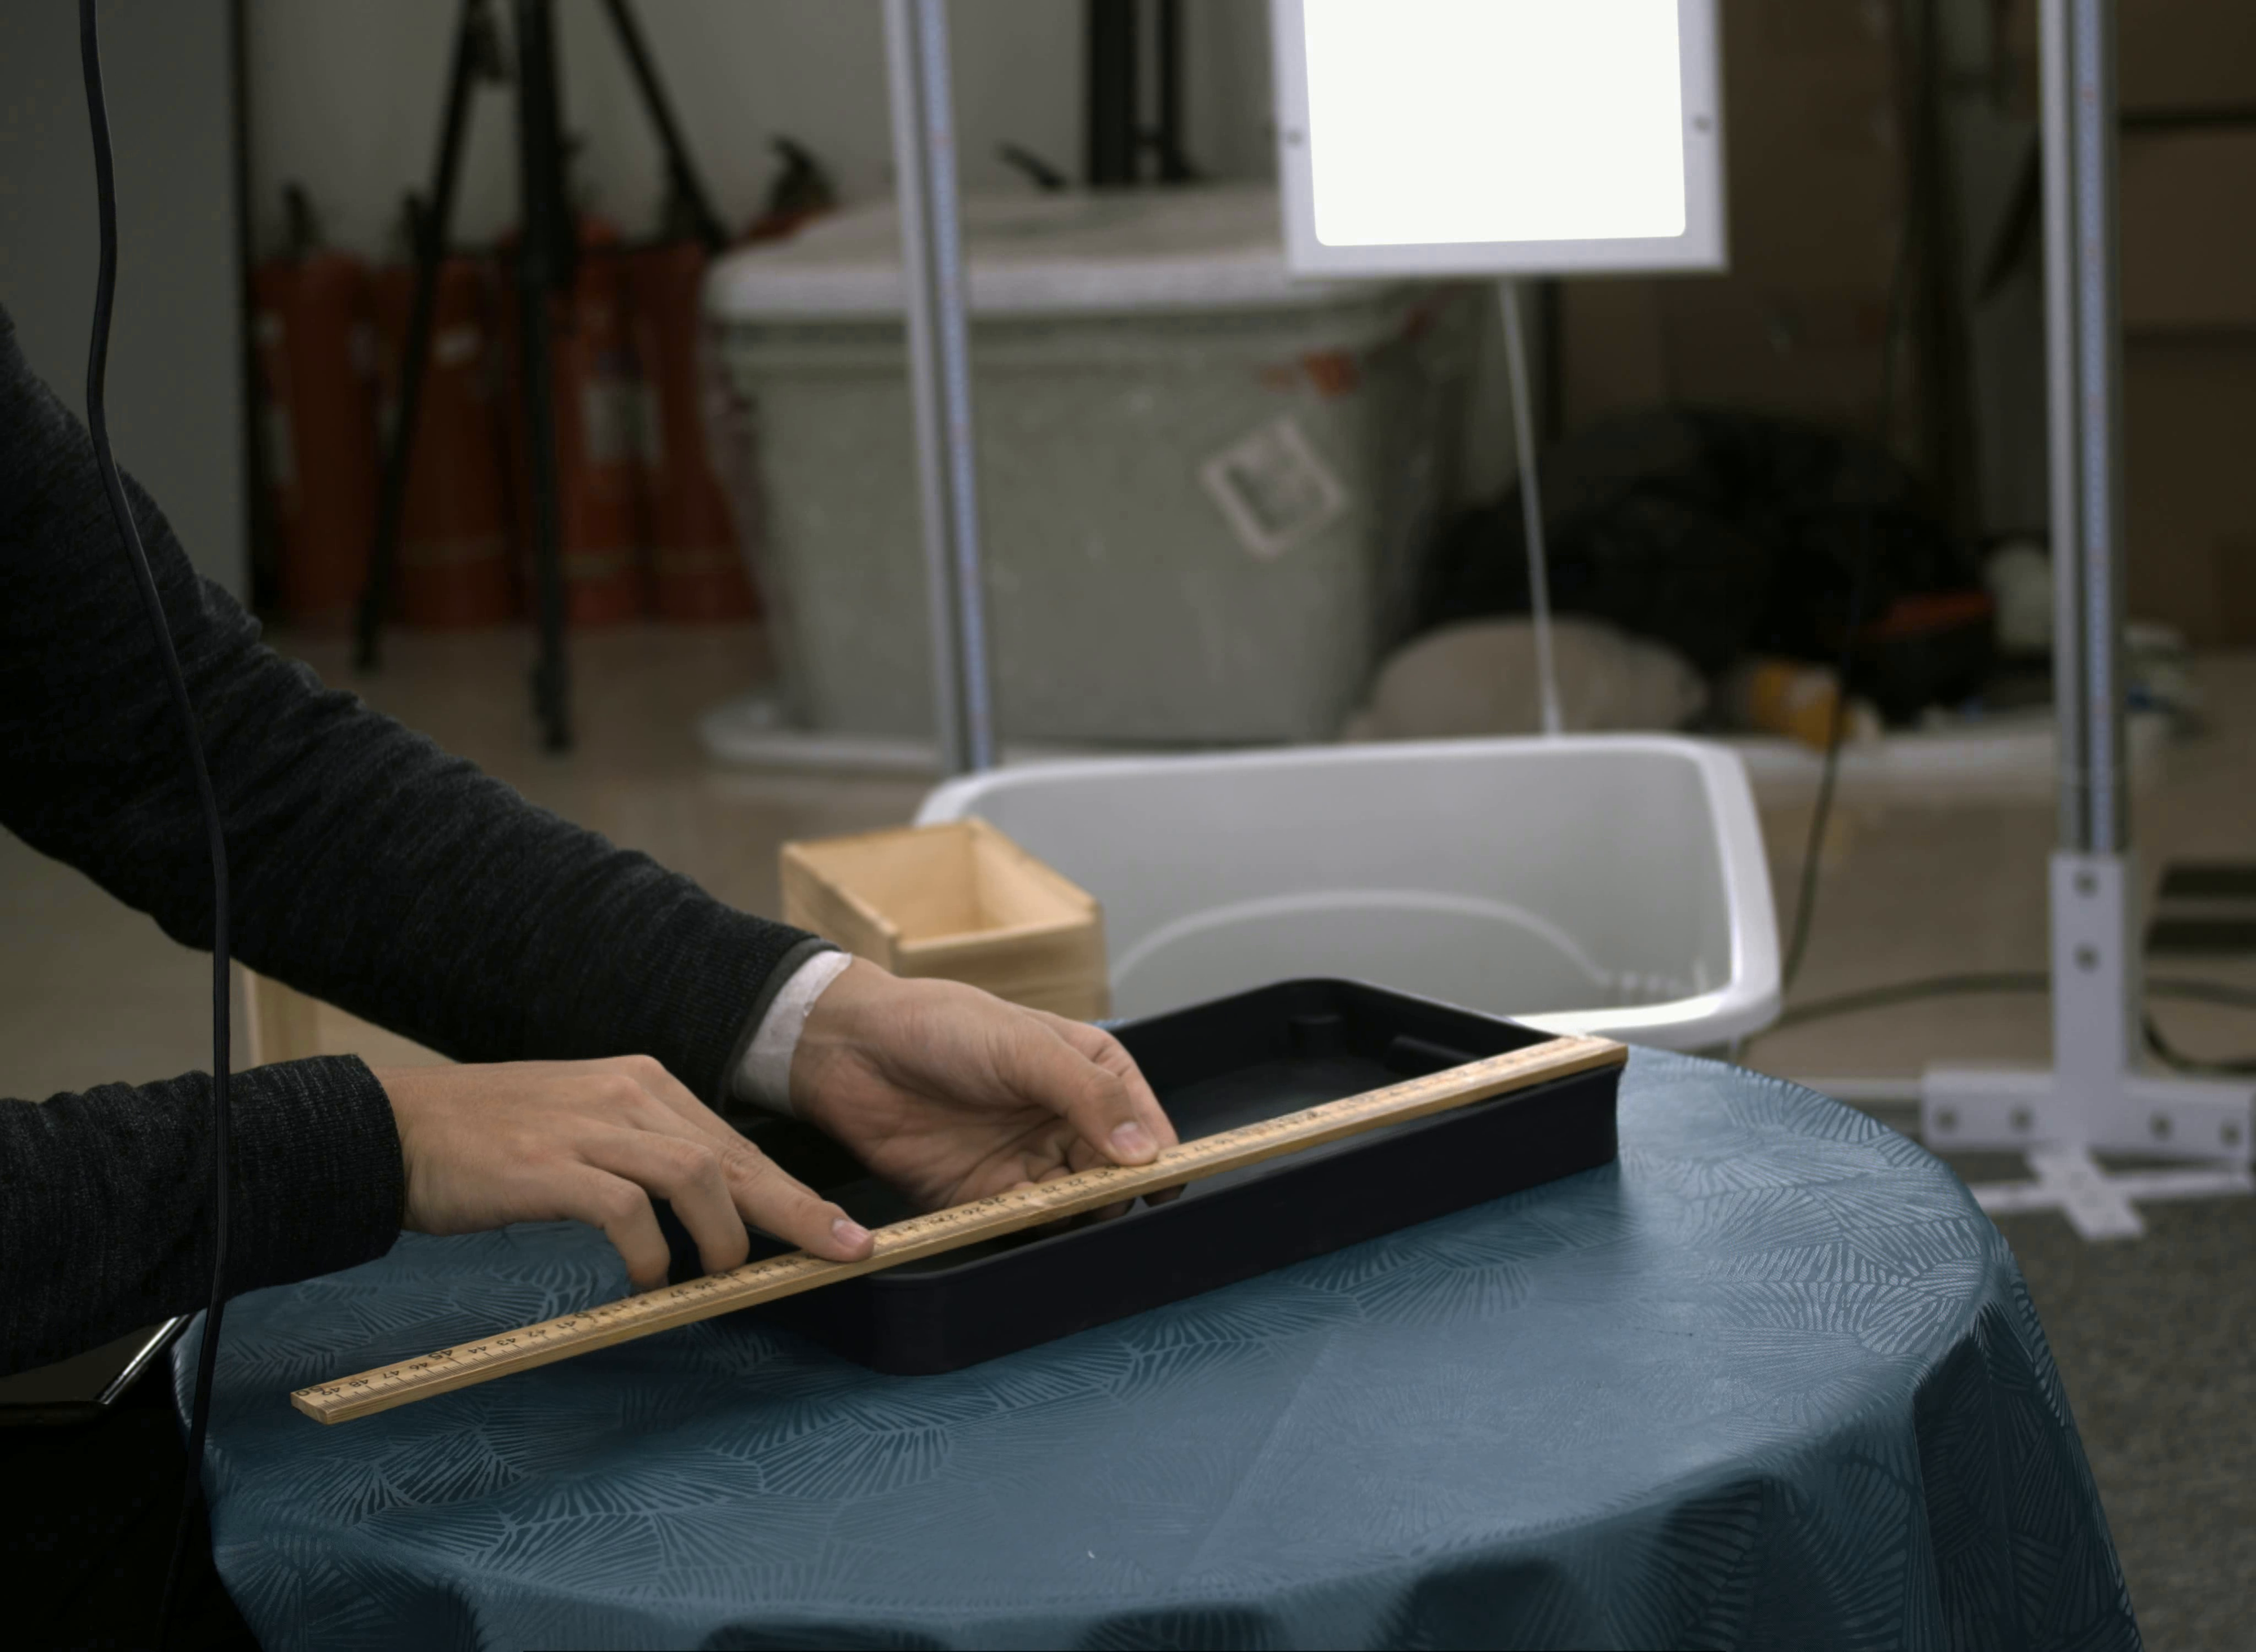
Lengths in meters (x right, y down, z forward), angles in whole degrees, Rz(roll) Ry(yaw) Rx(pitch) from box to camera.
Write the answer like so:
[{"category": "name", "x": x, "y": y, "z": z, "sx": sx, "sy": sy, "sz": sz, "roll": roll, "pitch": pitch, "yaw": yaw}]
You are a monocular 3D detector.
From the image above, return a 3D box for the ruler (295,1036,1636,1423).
[{"category": "ruler", "x": -0.038, "y": 0.124, "z": 1.768, "sx": 0.489, "sy": 0.006, "sz": 0.027, "roll": -13, "pitch": 14, "yaw": -30}]

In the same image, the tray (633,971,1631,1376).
[{"category": "tray", "x": 0.005, "y": 0.113, "z": 1.877, "sx": 0.310, "sy": 0.037, "sz": 0.188, "roll": -16, "pitch": 17, "yaw": -34}]
